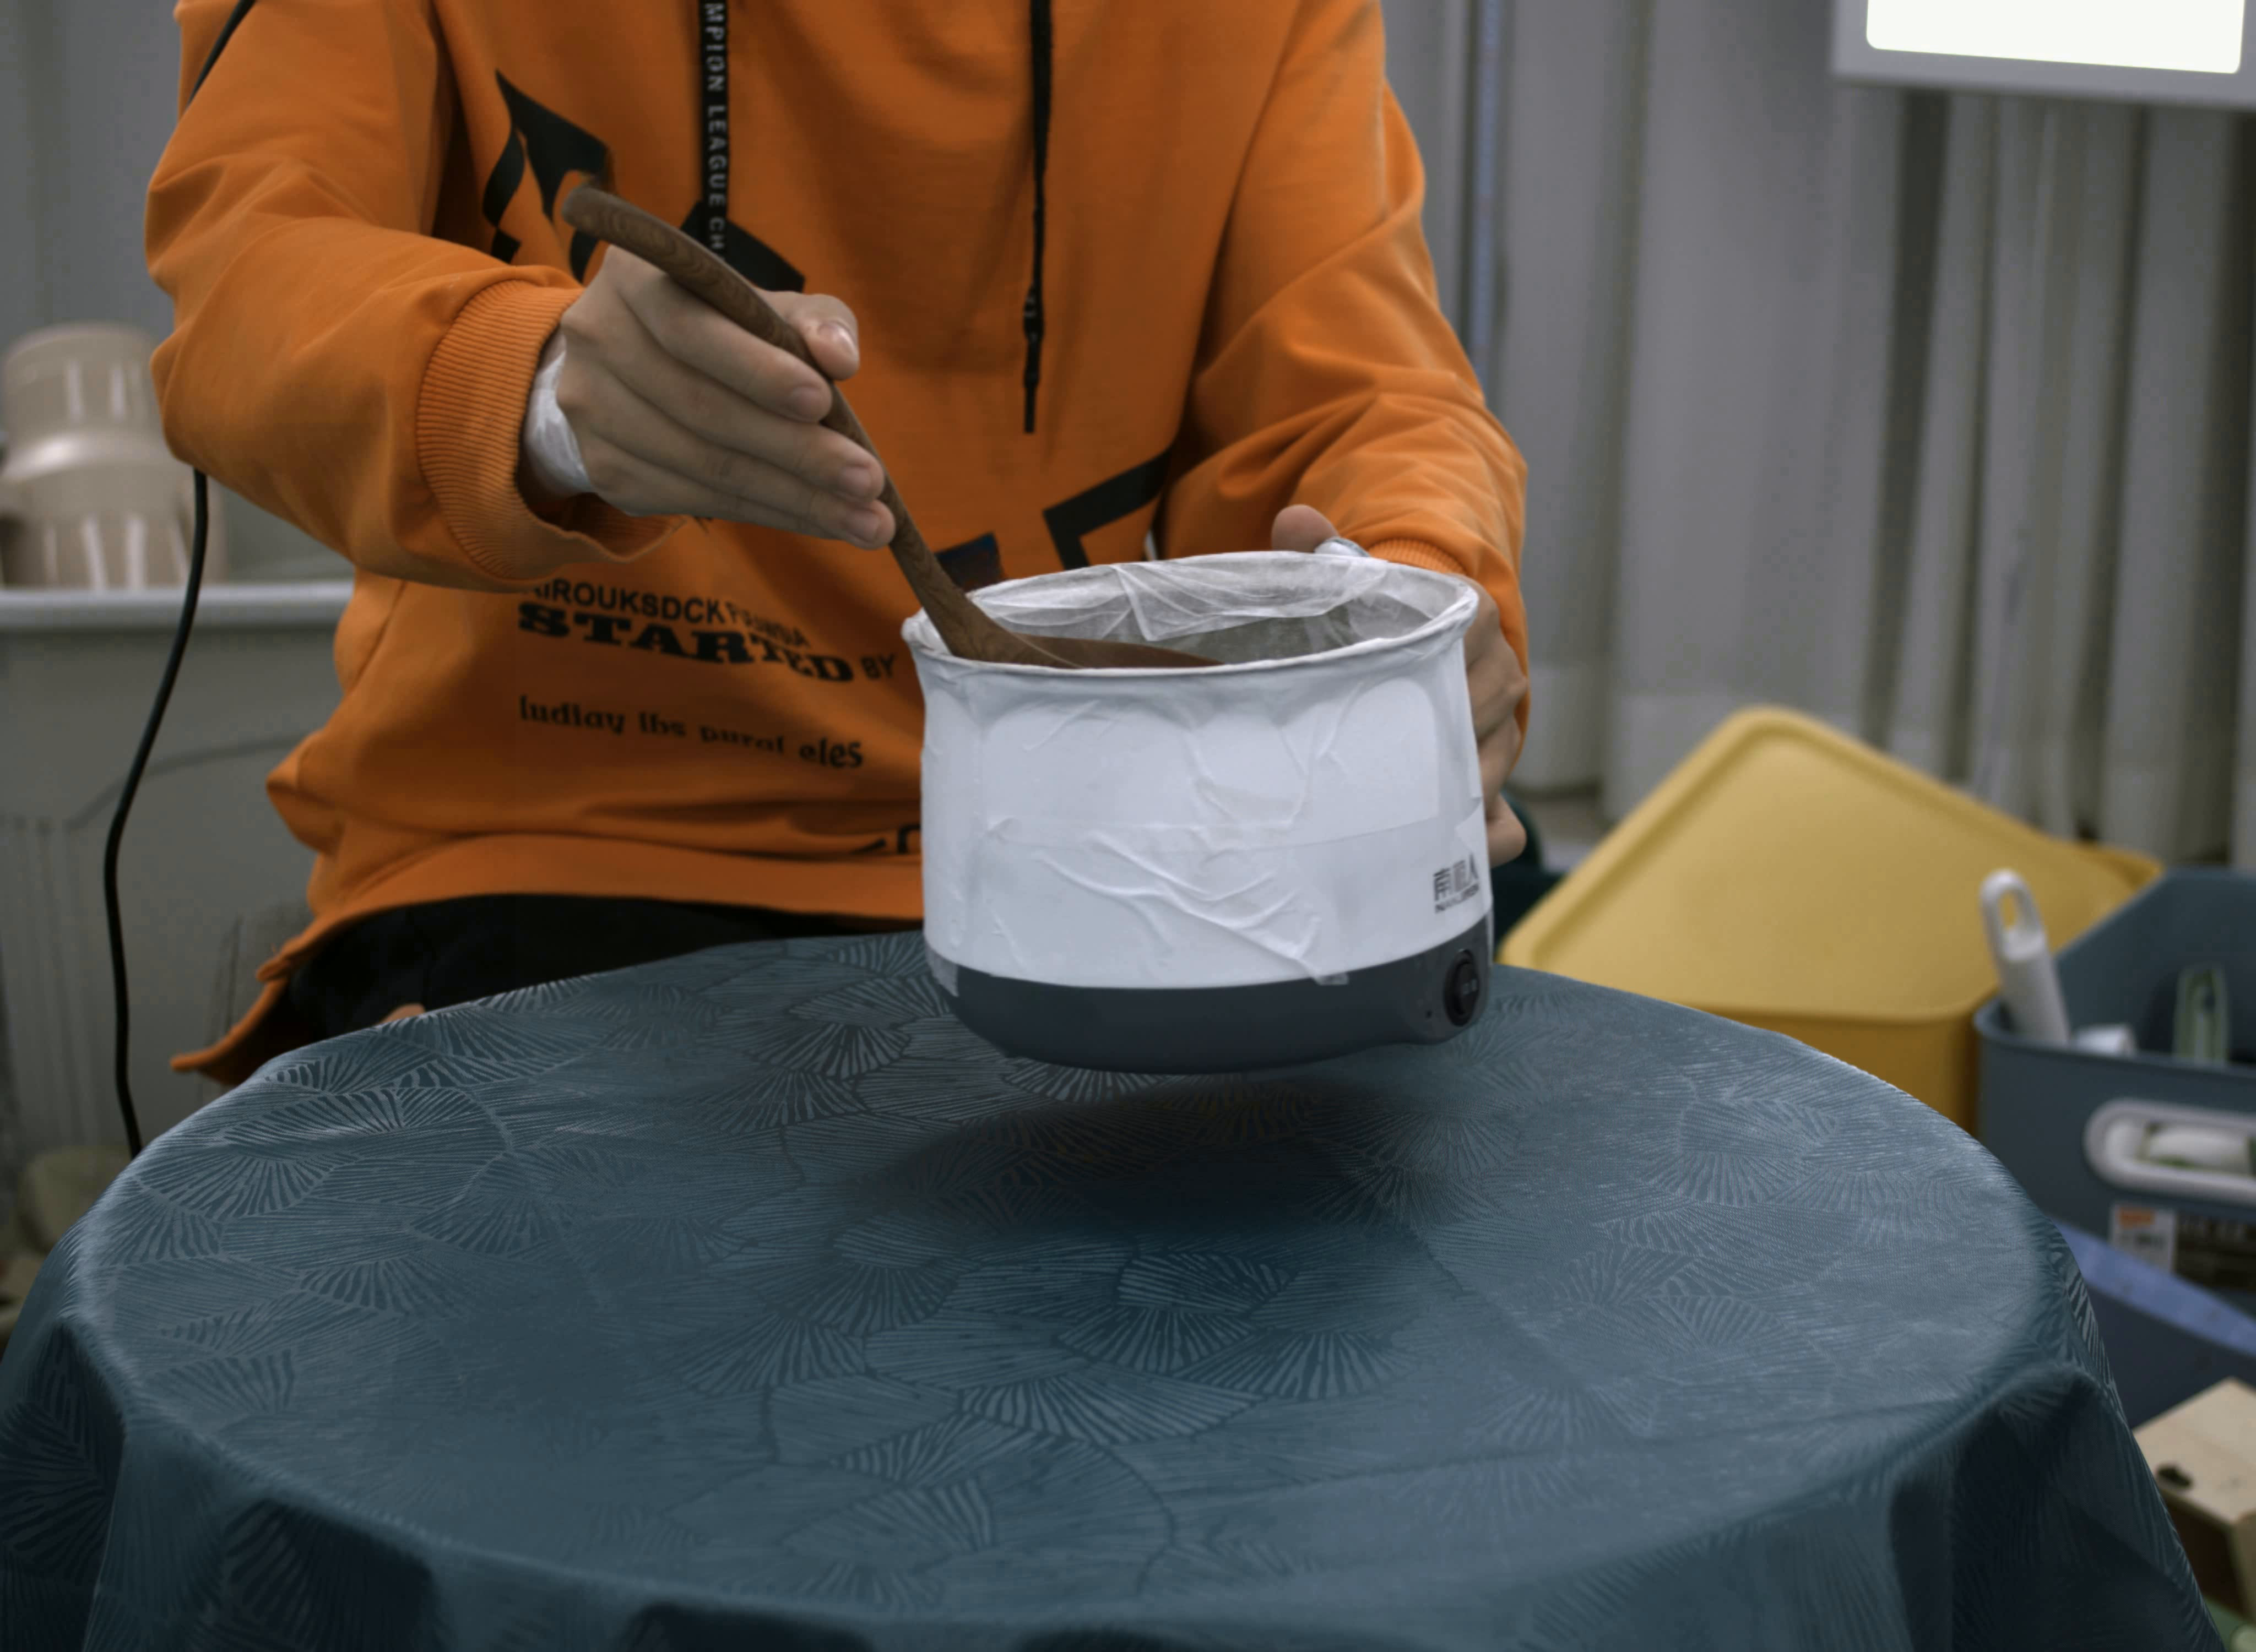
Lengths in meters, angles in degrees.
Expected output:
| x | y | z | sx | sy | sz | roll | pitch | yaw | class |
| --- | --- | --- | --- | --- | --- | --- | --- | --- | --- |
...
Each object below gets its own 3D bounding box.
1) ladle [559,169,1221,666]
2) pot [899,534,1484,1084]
| x | y | z | sx | sy | sz | roll | pitch | yaw | class |
| --- | --- | --- | --- | --- | --- | --- | --- | --- | --- |
| -0.063 | -0.113 | 1.560 | 0.065 | 0.263 | 0.076 | -45 | 22 | -11 | ladle |
| 0.034 | -0.011 | 1.647 | 0.177 | 0.138 | 0.234 | 5 | 16 | 27 | pot |
